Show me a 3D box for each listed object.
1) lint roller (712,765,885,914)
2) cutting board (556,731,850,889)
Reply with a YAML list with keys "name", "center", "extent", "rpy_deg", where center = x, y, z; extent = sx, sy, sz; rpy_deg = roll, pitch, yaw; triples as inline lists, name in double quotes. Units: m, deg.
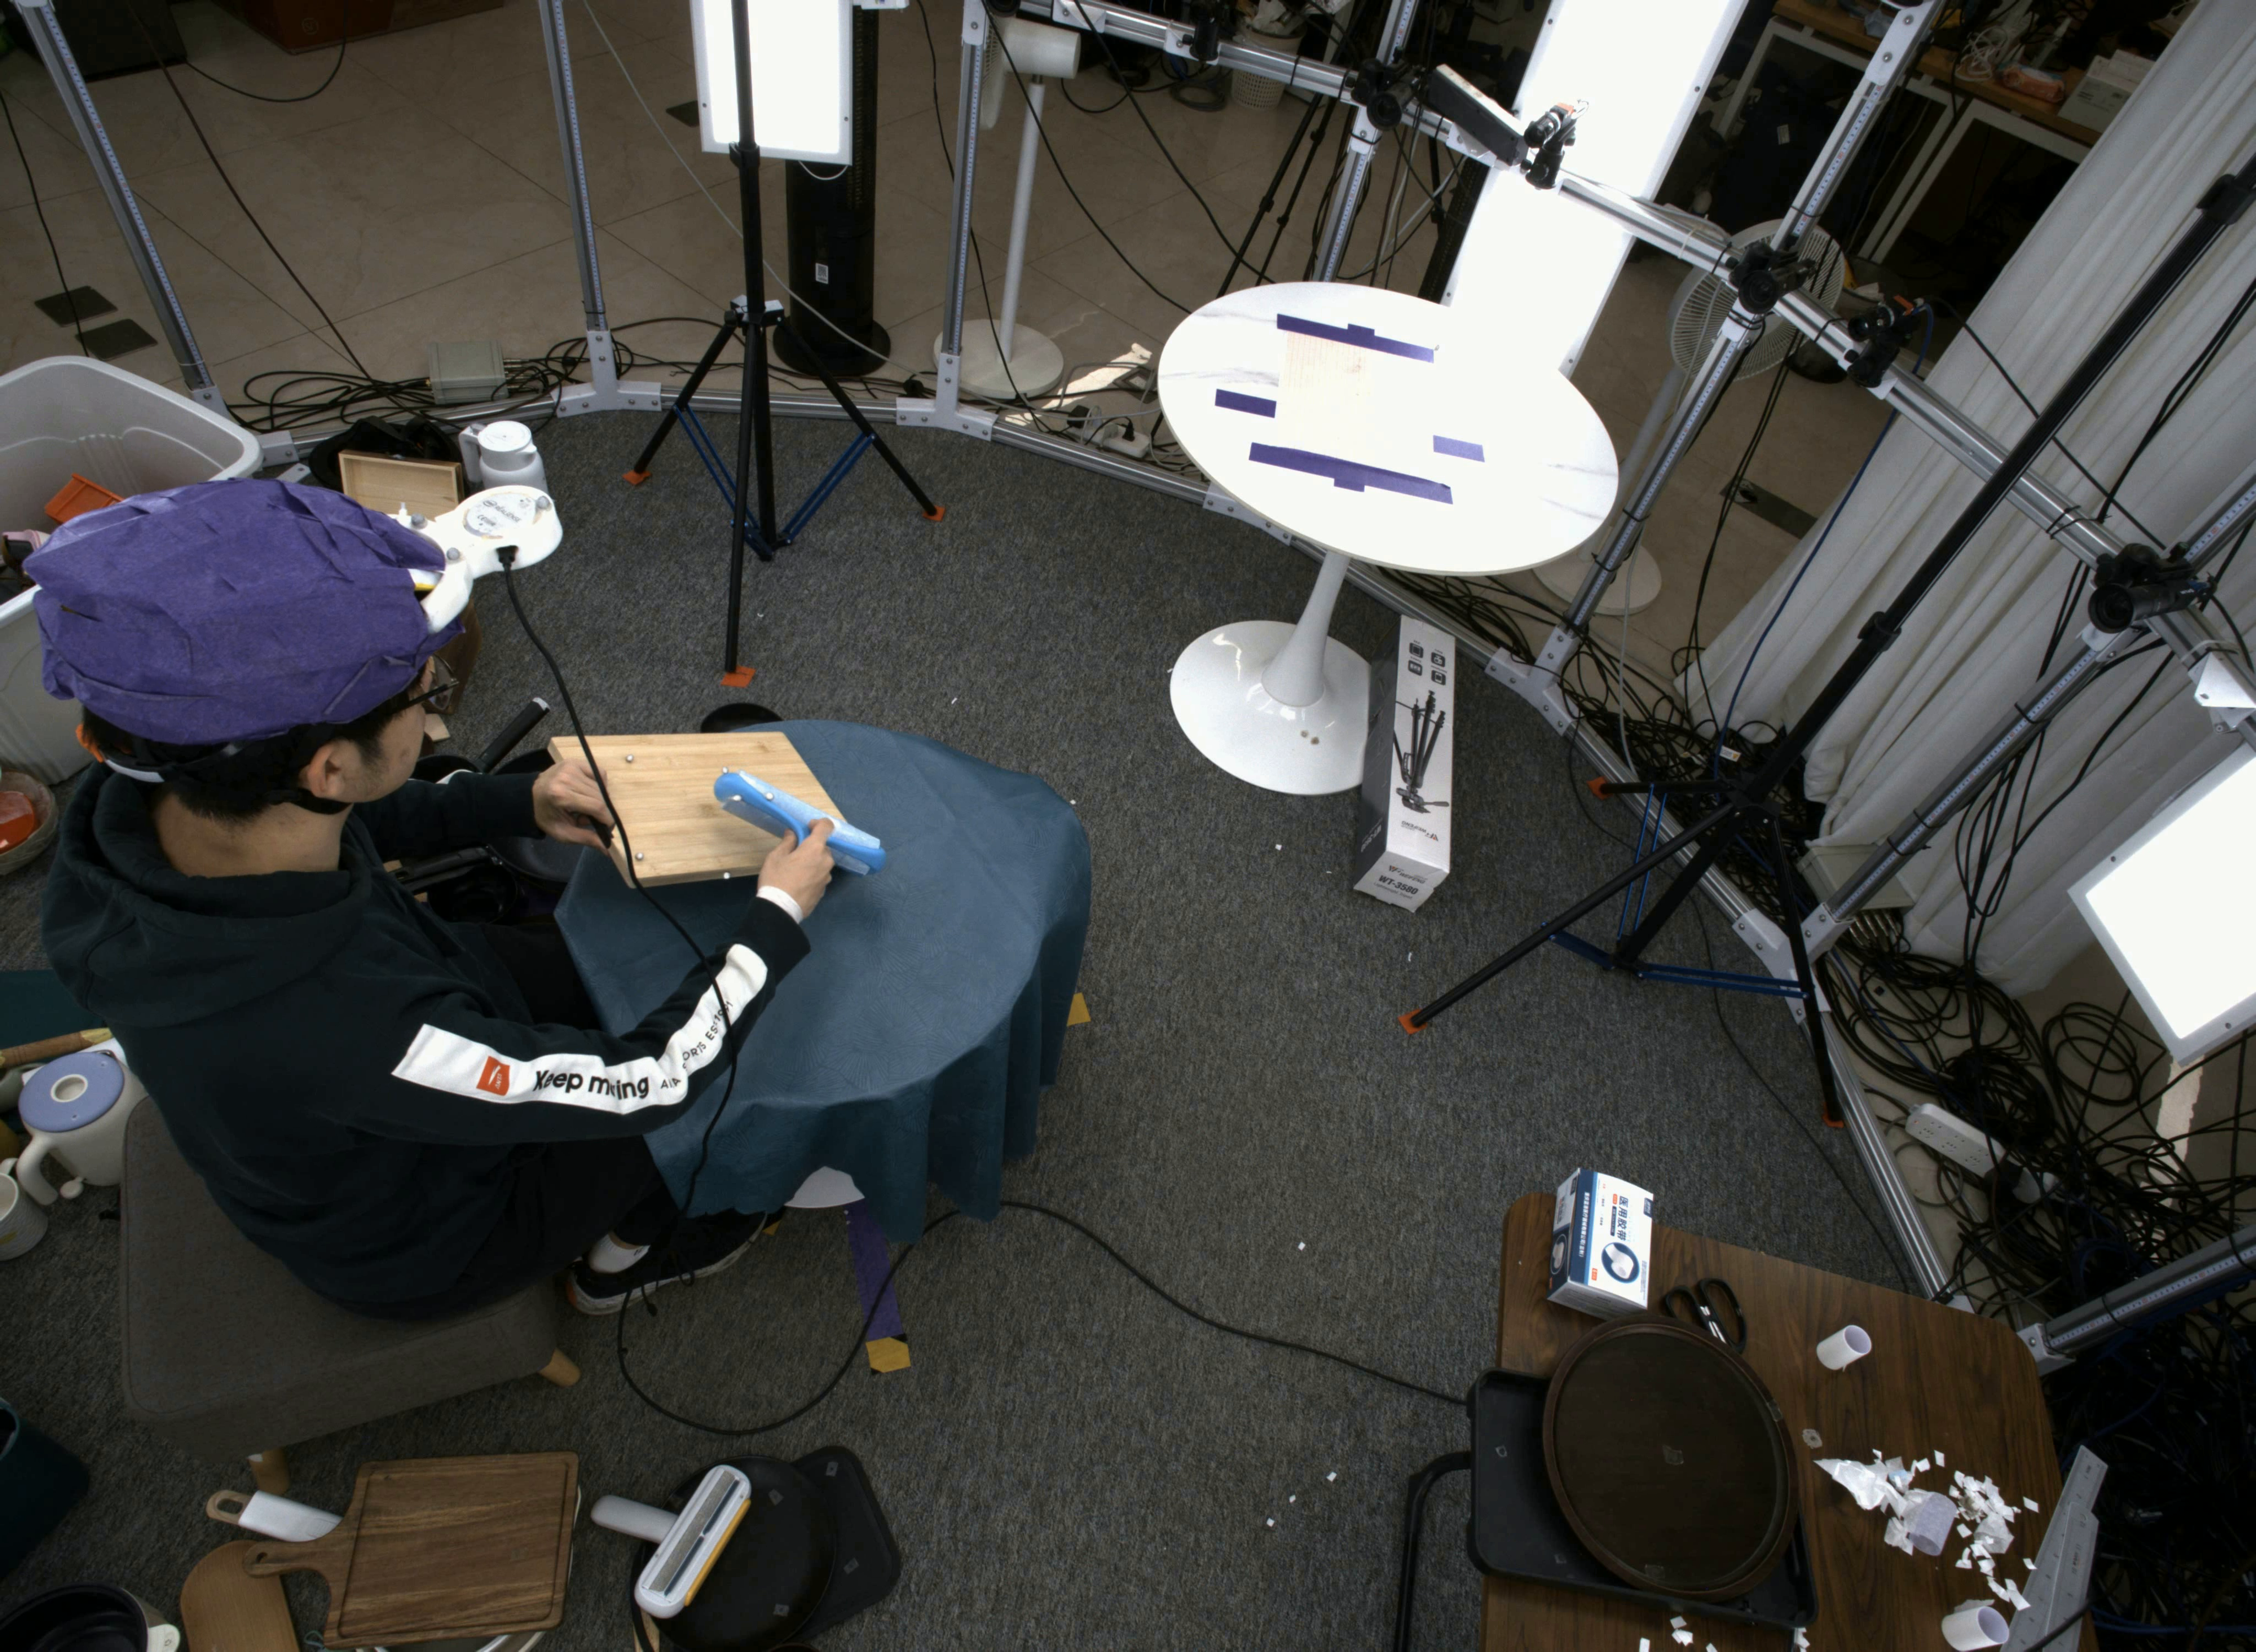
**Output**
- name: "lint roller"
  center: [-0.393, 0.026, 1.543]
  extent: [0.235, 0.068, 0.175]
  rpy_deg: [30, 25, -30]
- name: "cutting board"
  center: [-0.525, -0.030, 1.617]
  extent: [0.354, 0.024, 0.245]
  rpy_deg: [-8, 52, -52]
